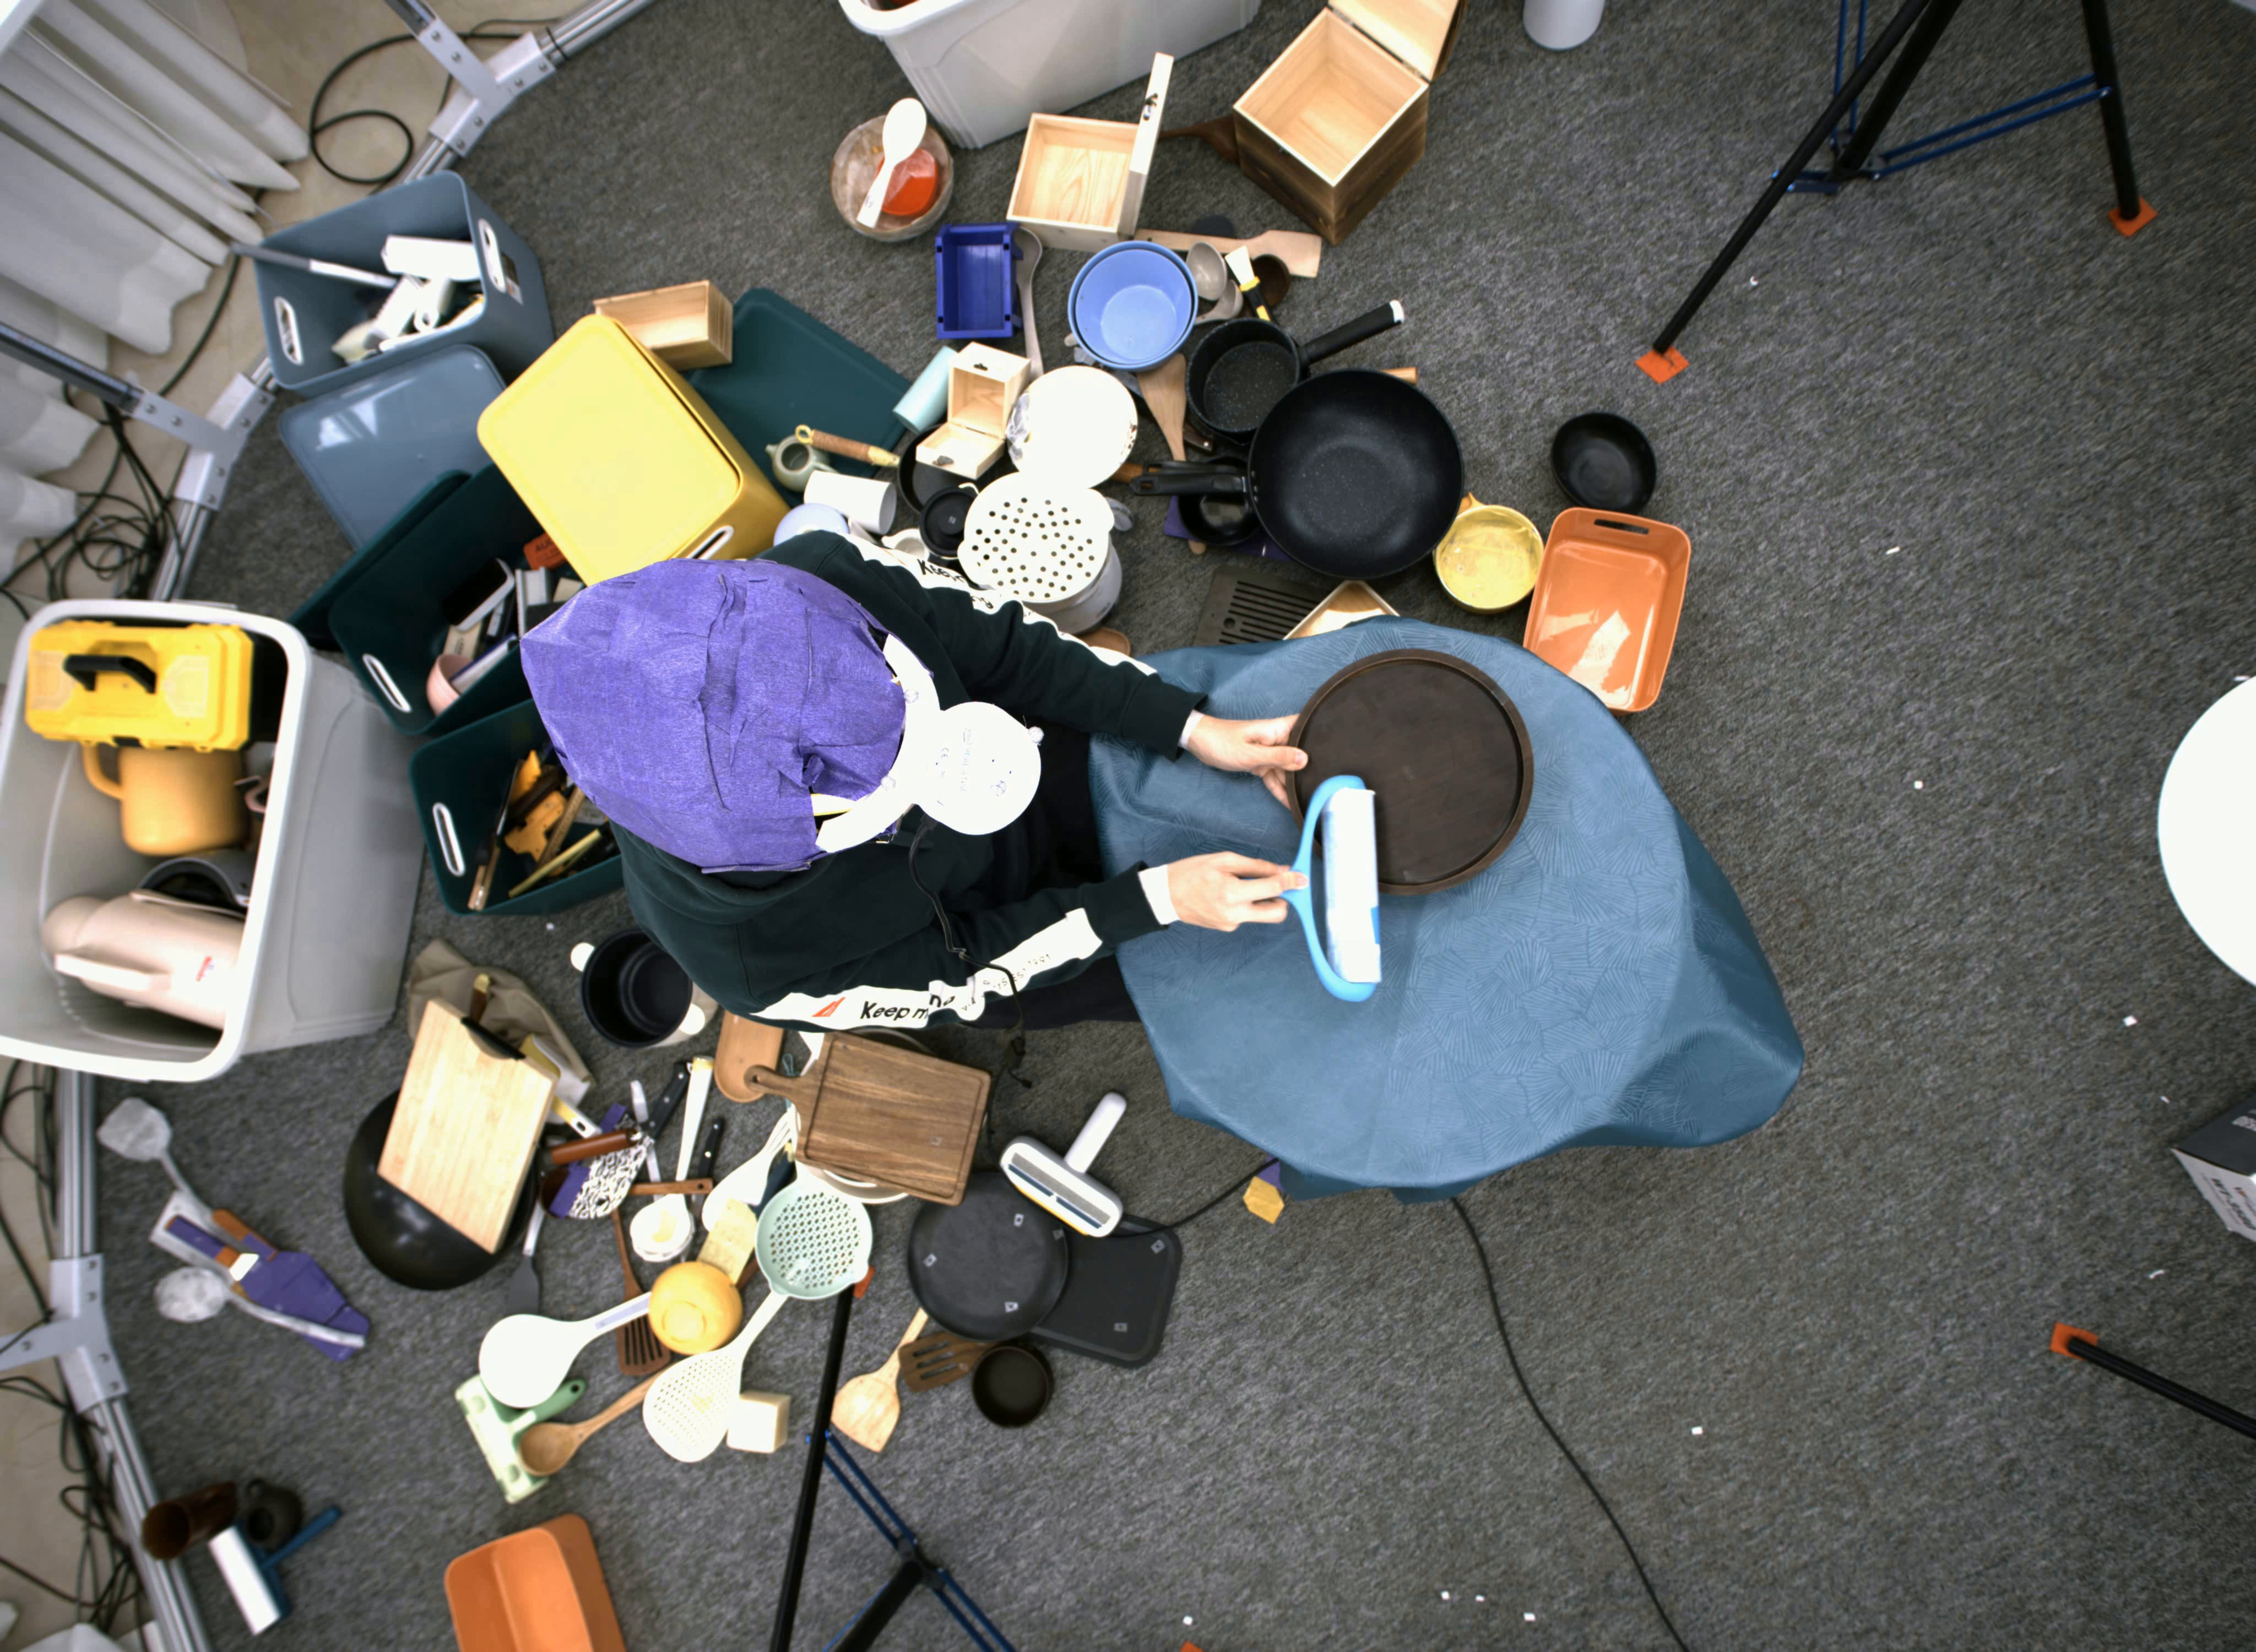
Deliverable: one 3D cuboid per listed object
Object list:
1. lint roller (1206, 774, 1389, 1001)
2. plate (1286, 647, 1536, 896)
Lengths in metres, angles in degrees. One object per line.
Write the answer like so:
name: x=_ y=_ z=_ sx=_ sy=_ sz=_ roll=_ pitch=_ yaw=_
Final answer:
lint roller: x=0.170 y=0.065 z=1.390 sx=0.180 sy=0.068 sz=0.228 roll=-5 pitch=87 yaw=2
plate: x=0.286 y=-0.057 z=1.402 sx=0.256 sy=0.029 sz=0.255 roll=0 pitch=92 yaw=19
